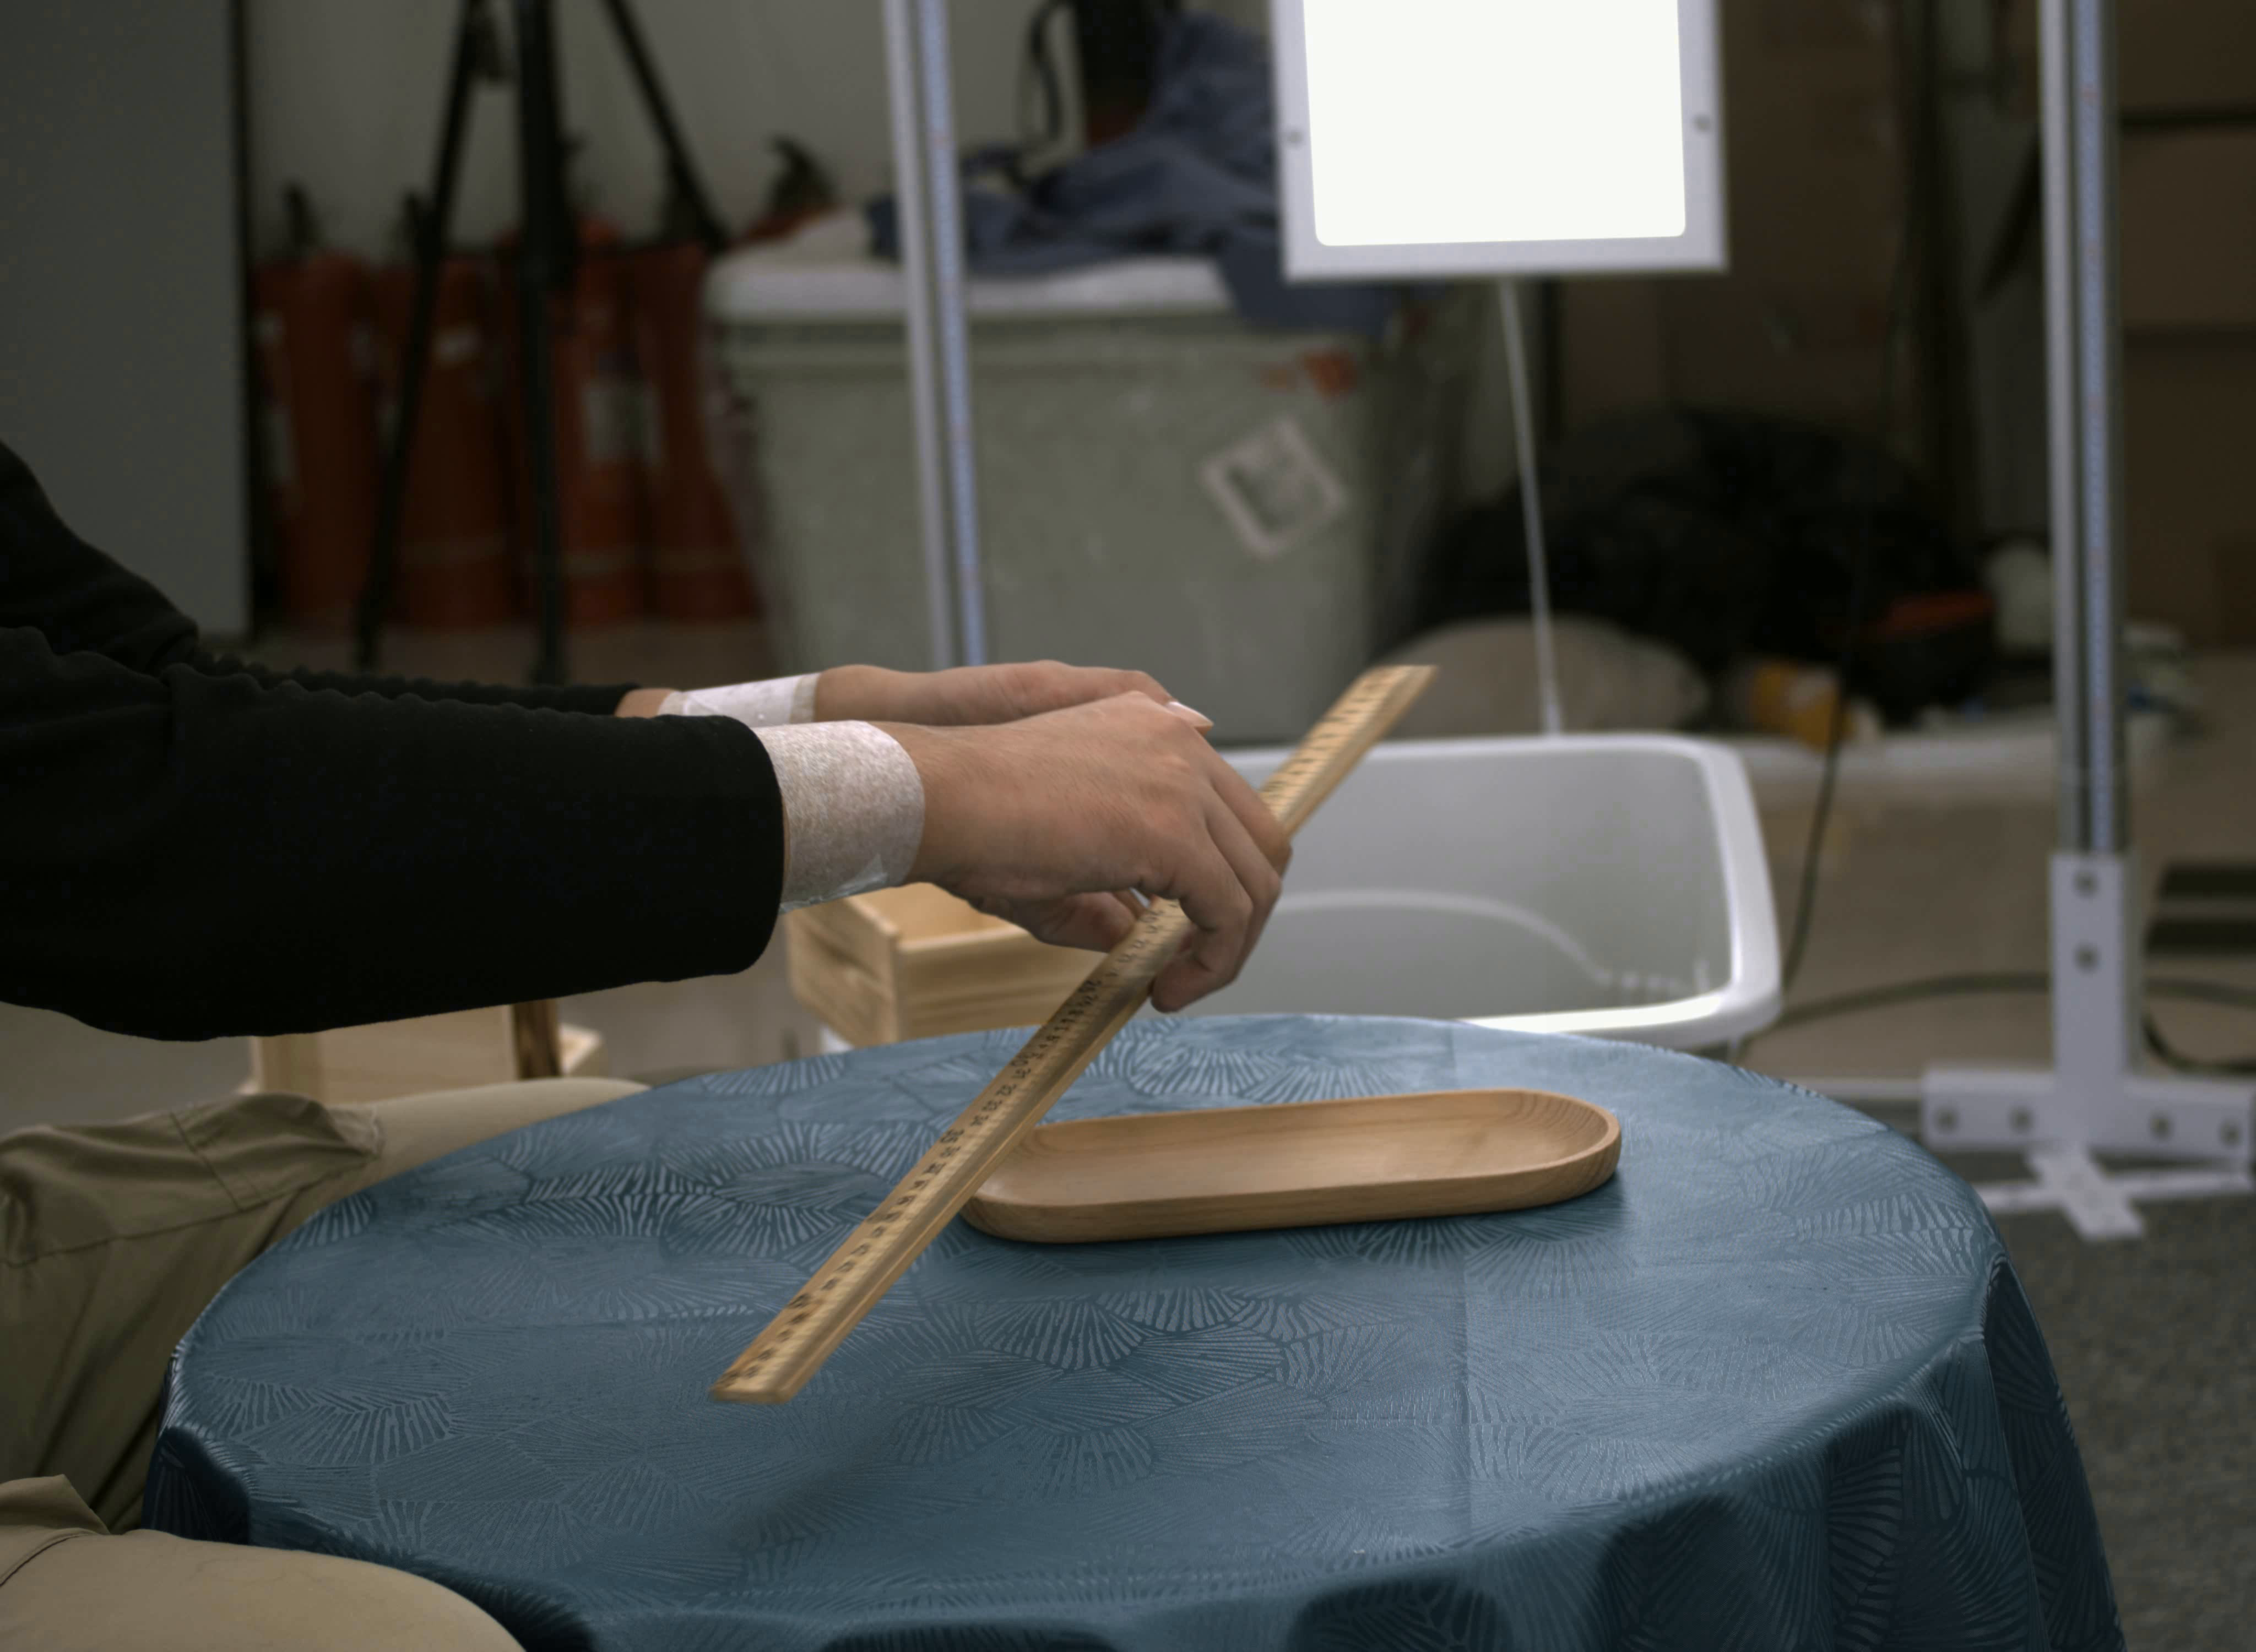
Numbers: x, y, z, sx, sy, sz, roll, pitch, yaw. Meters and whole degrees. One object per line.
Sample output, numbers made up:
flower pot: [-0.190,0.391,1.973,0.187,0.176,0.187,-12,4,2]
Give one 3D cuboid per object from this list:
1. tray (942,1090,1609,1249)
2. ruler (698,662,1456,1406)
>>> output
tray: [0.050,0.118,1.881,0.230,0.020,0.101,-7,12,1]
ruler: [-0.004,0.054,1.764,0.027,0.006,0.490,-3,25,32]
